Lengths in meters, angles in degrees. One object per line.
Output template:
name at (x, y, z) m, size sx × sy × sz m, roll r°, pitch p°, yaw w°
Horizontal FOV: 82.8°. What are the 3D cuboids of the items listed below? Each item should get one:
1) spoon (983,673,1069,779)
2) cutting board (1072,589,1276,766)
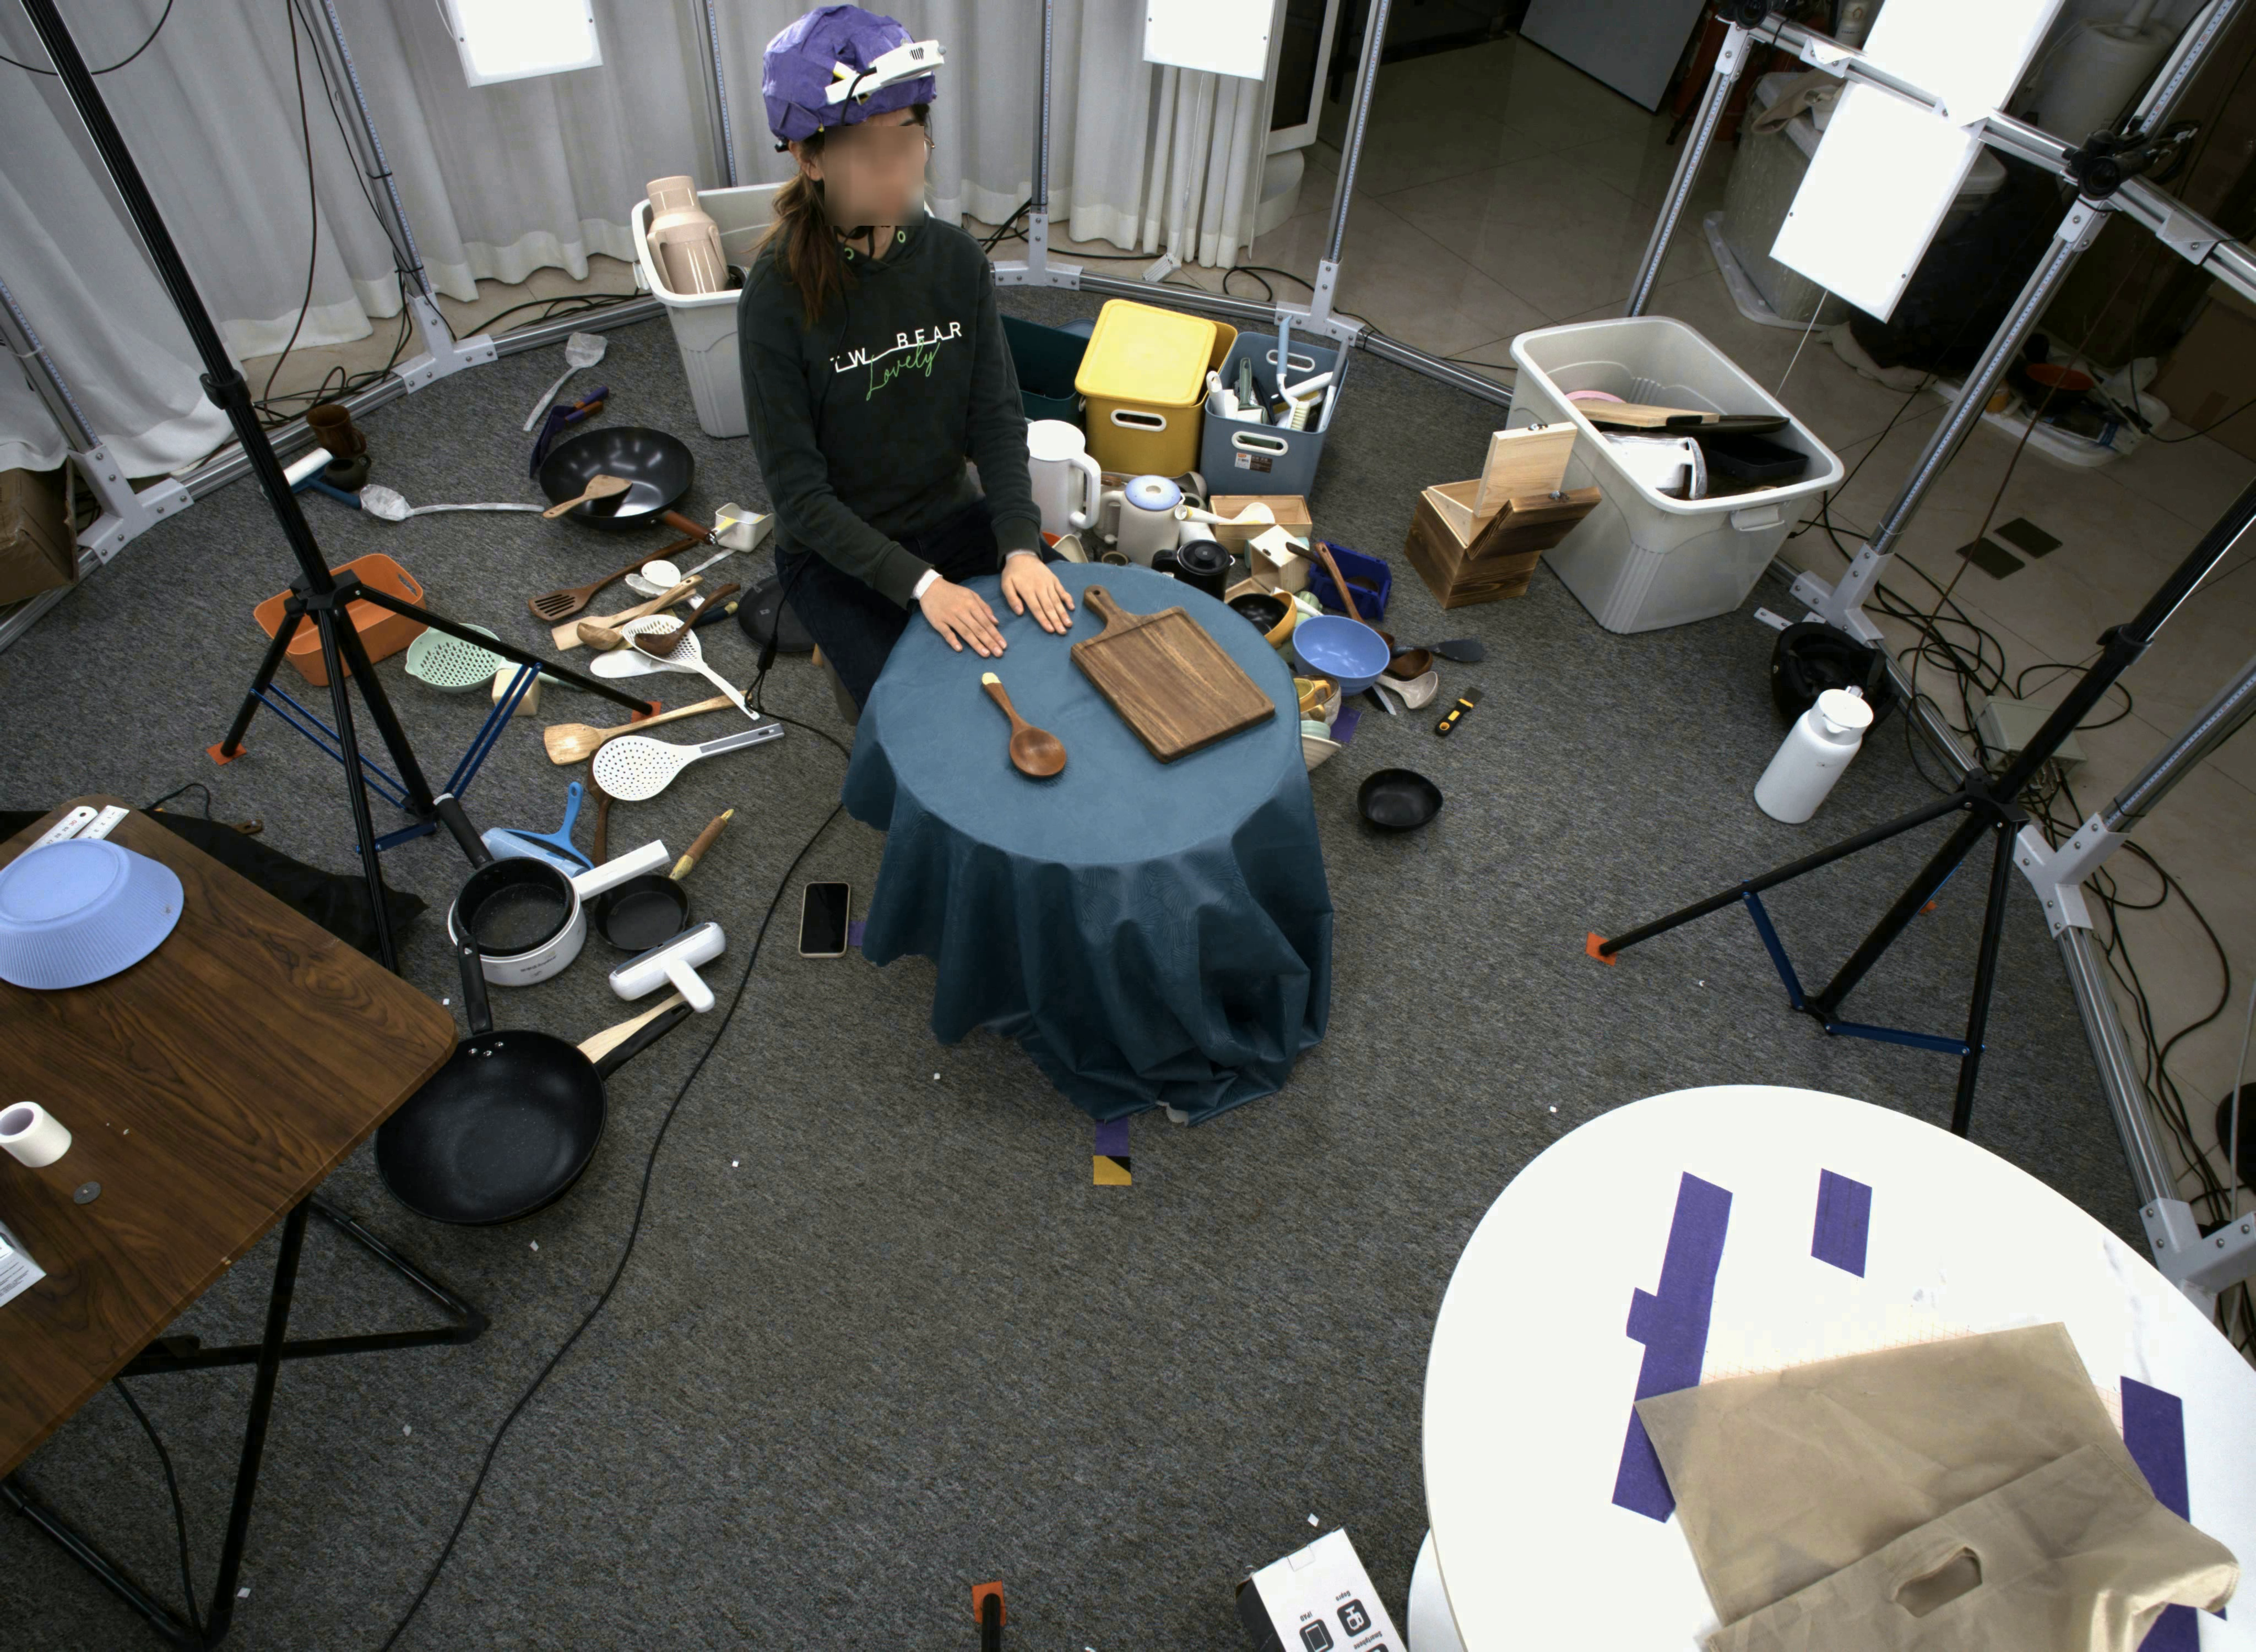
spoon at (-0.149, -0.140, 1.785) m, size 0.075 × 0.017 × 0.220 m, roll -20°, pitch 54°, yaw -18°
cutting board at (0.038, -0.240, 1.885) m, size 0.202 × 0.022 × 0.359 m, roll -24°, pitch 54°, yaw -22°
